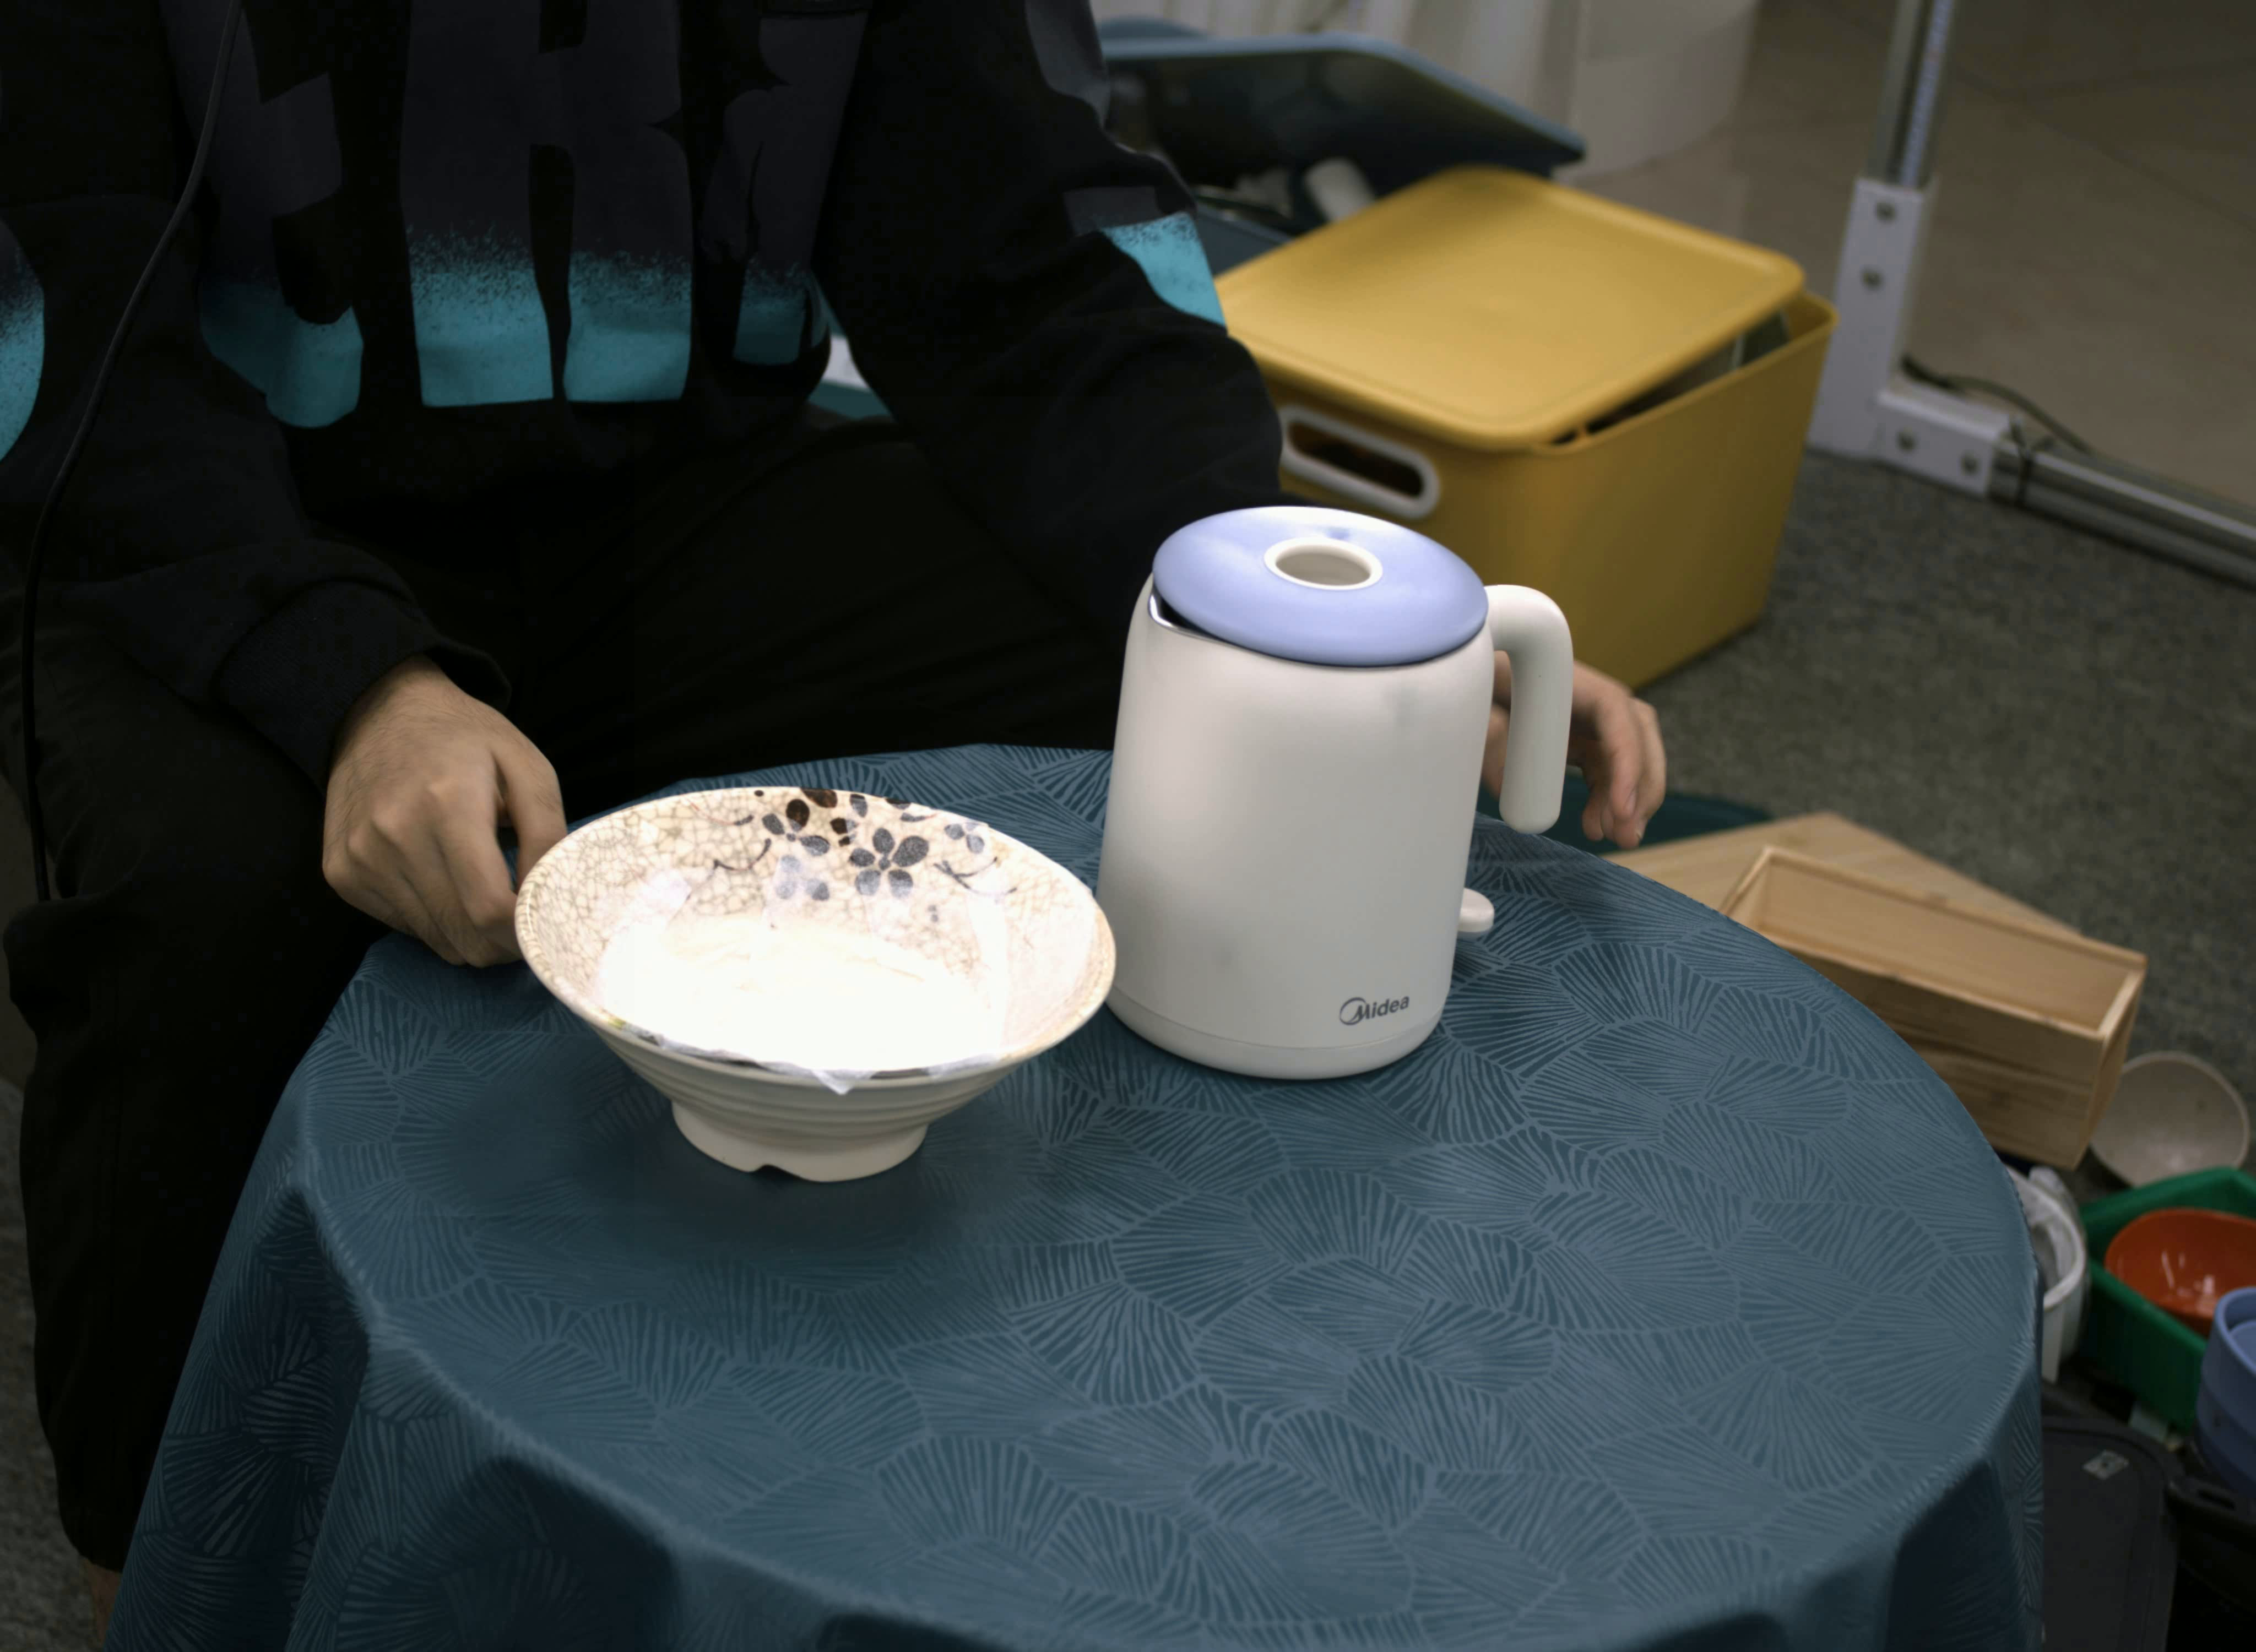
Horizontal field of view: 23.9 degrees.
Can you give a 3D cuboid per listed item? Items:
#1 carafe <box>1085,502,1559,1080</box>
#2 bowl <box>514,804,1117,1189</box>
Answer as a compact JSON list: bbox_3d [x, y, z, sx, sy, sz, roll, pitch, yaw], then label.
[{"bbox_3d":[0.077,-0.016,1.904,0.190,0.182,0.133,-9,32,-33],"label":"carafe"},{"bbox_3d":[-0.107,0.069,1.801,0.203,0.078,0.205,4,24,-2],"label":"bowl"}]
